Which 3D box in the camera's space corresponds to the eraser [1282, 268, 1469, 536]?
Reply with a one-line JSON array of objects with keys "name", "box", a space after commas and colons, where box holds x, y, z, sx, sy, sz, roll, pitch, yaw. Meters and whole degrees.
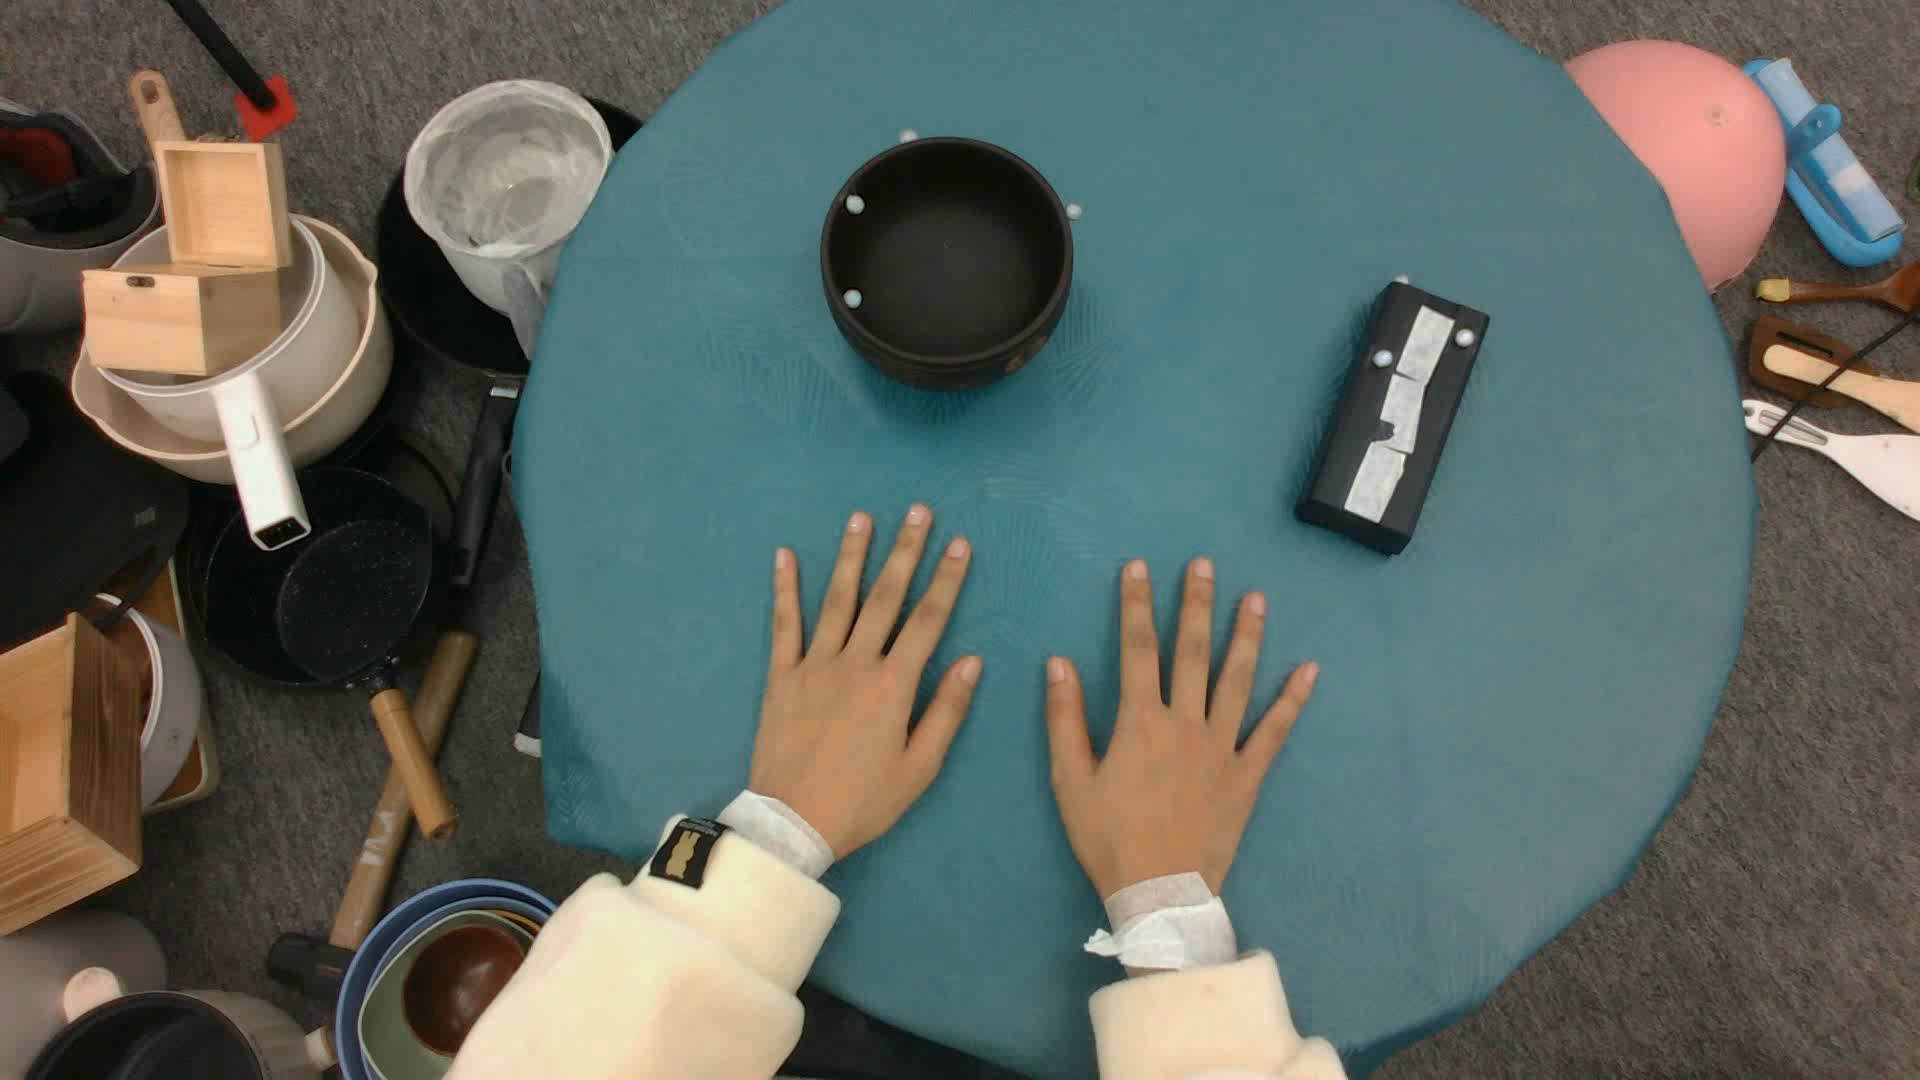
[{"name": "eraser", "box": [0.200, -0.067, 0.665, 0.053, 0.030, 0.126, 21, 77, 6]}]

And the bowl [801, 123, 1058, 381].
[{"name": "bowl", "box": [-0.014, -0.129, 0.654, 0.118, 0.069, 0.118, 0, 76, -1]}]
